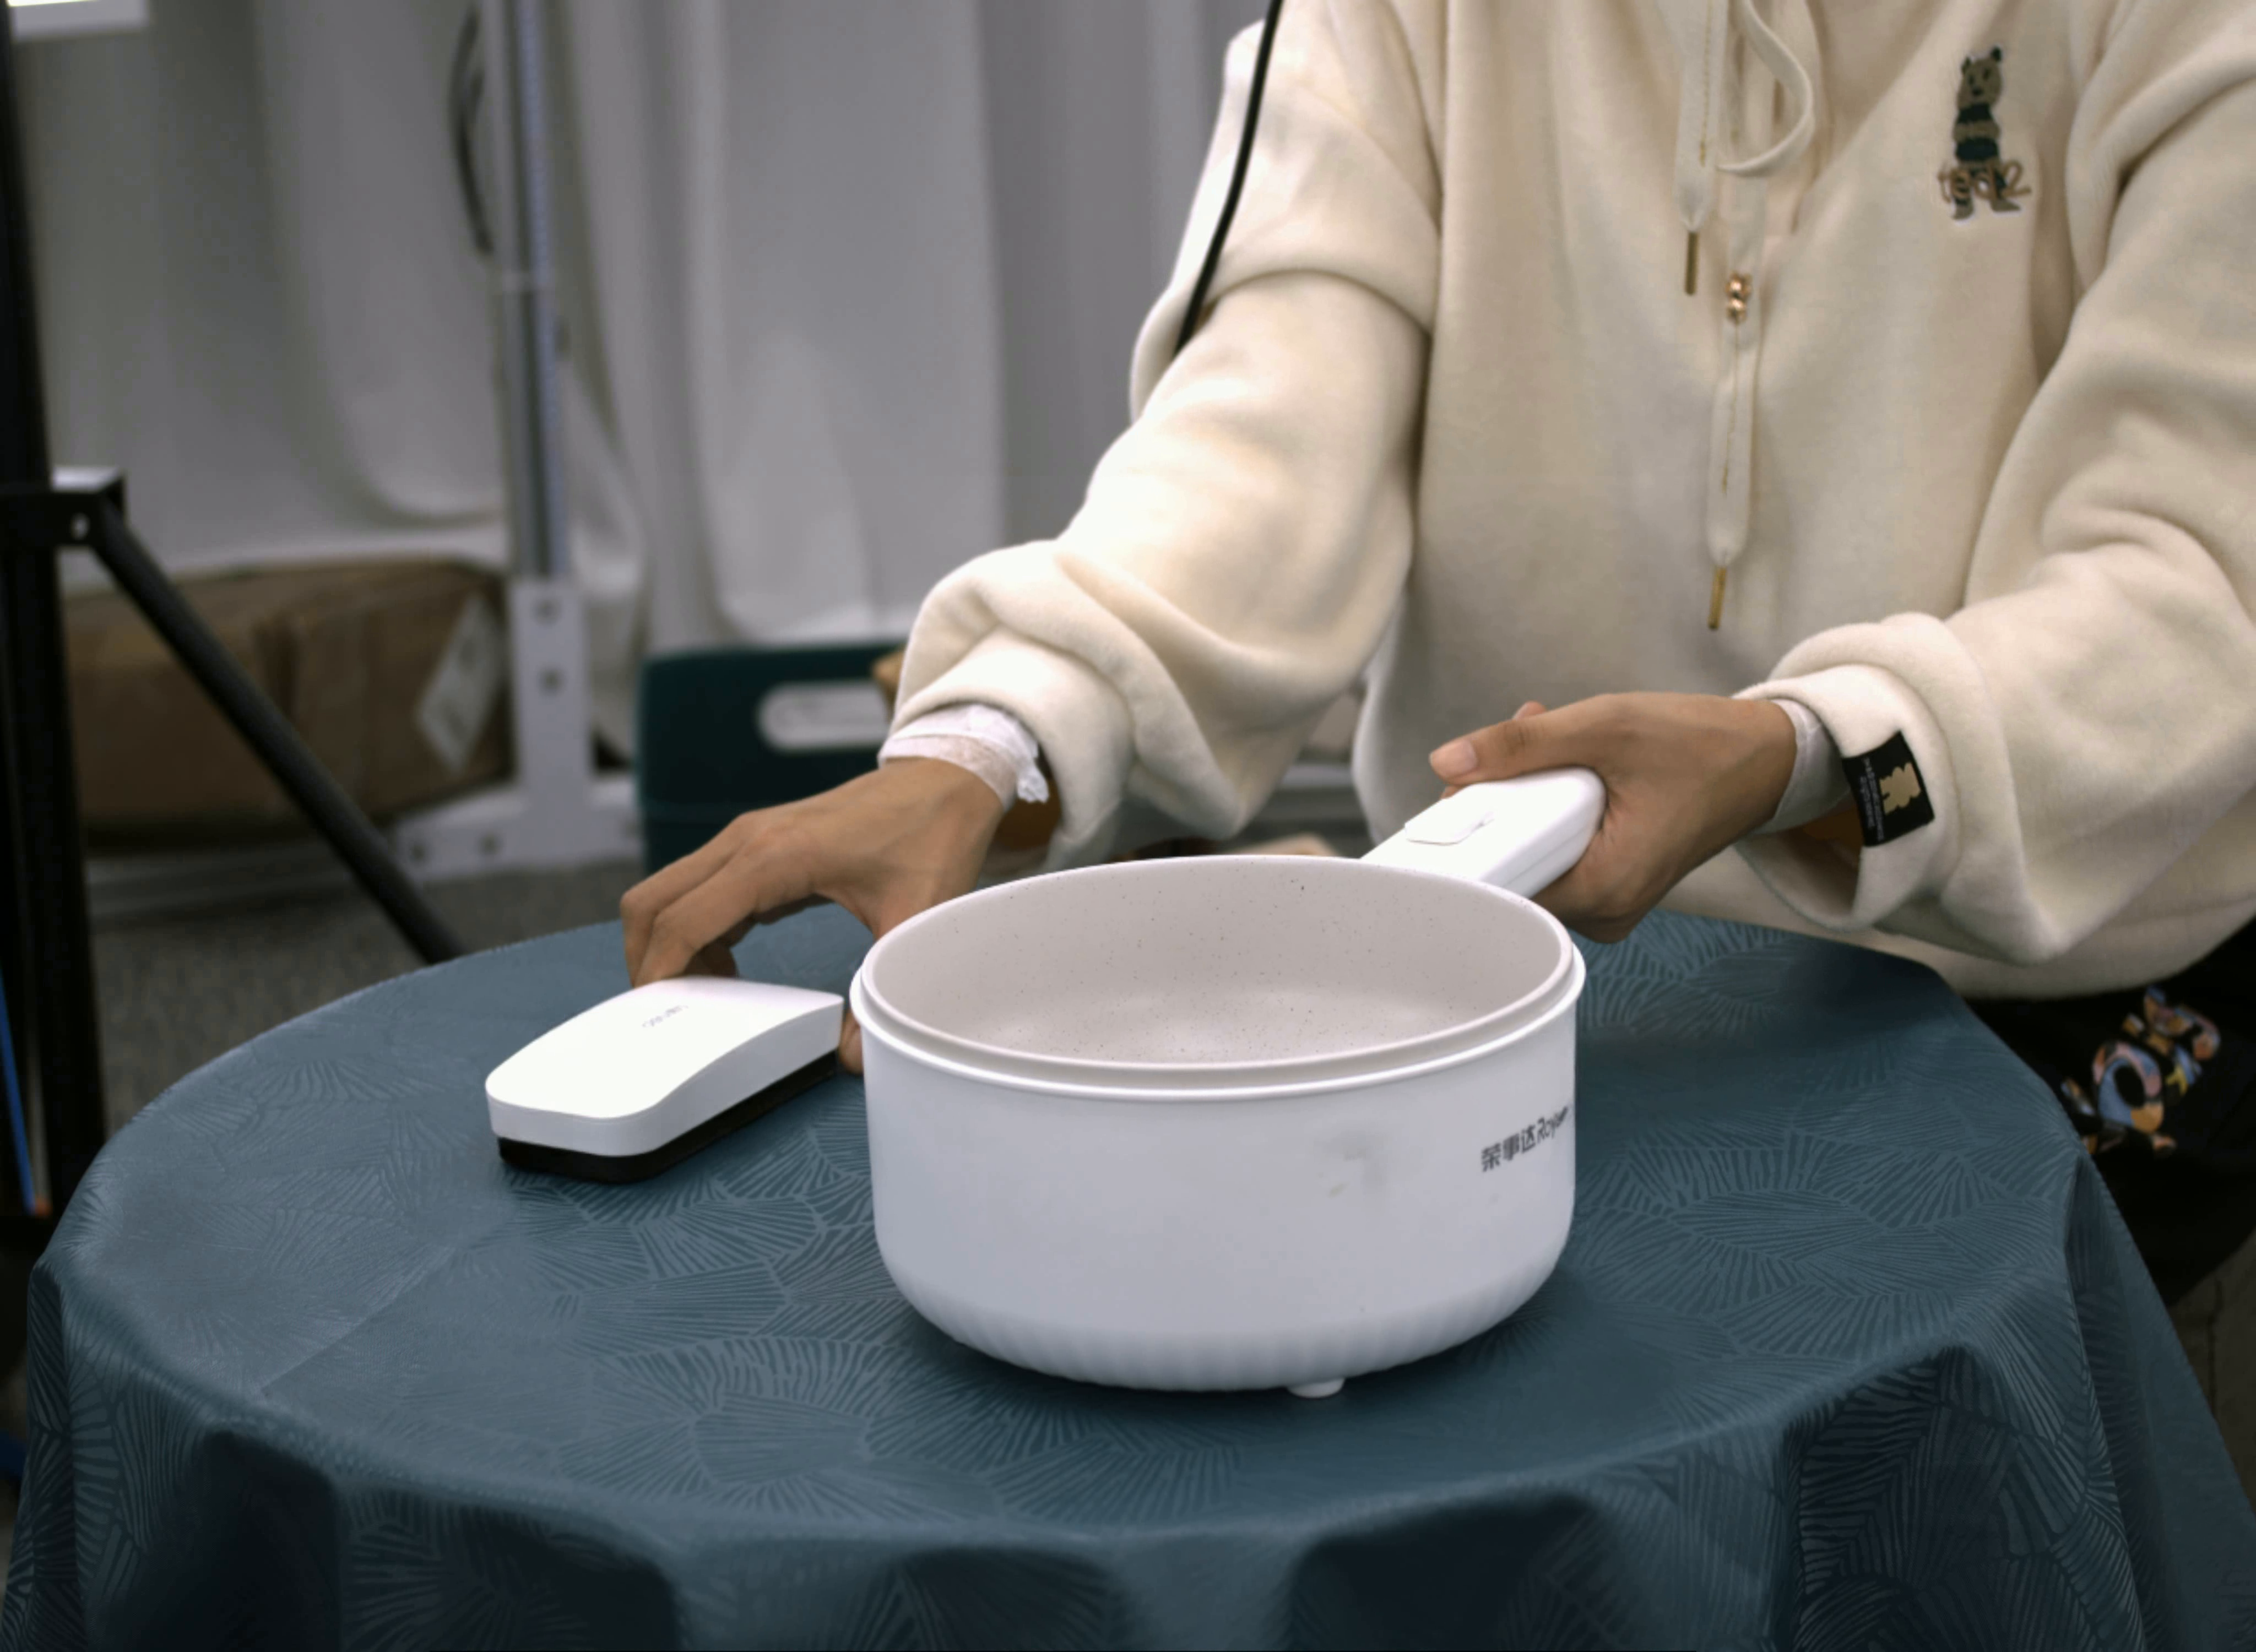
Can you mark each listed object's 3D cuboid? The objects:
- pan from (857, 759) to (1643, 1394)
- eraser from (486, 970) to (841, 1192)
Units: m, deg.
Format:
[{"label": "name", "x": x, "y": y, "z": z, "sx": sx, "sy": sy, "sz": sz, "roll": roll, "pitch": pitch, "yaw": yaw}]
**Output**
[{"label": "pan", "x": 0.060, "y": 0.065, "z": 1.519, "sx": 0.204, "sy": 0.102, "sz": 0.348, "roll": 7, "pitch": 16, "yaw": 27}, {"label": "eraser", "x": -0.141, "y": 0.075, "z": 1.642, "sx": 0.064, "sy": 0.034, "sz": 0.129, "roll": 11, "pitch": 21, "yaw": 27}]
